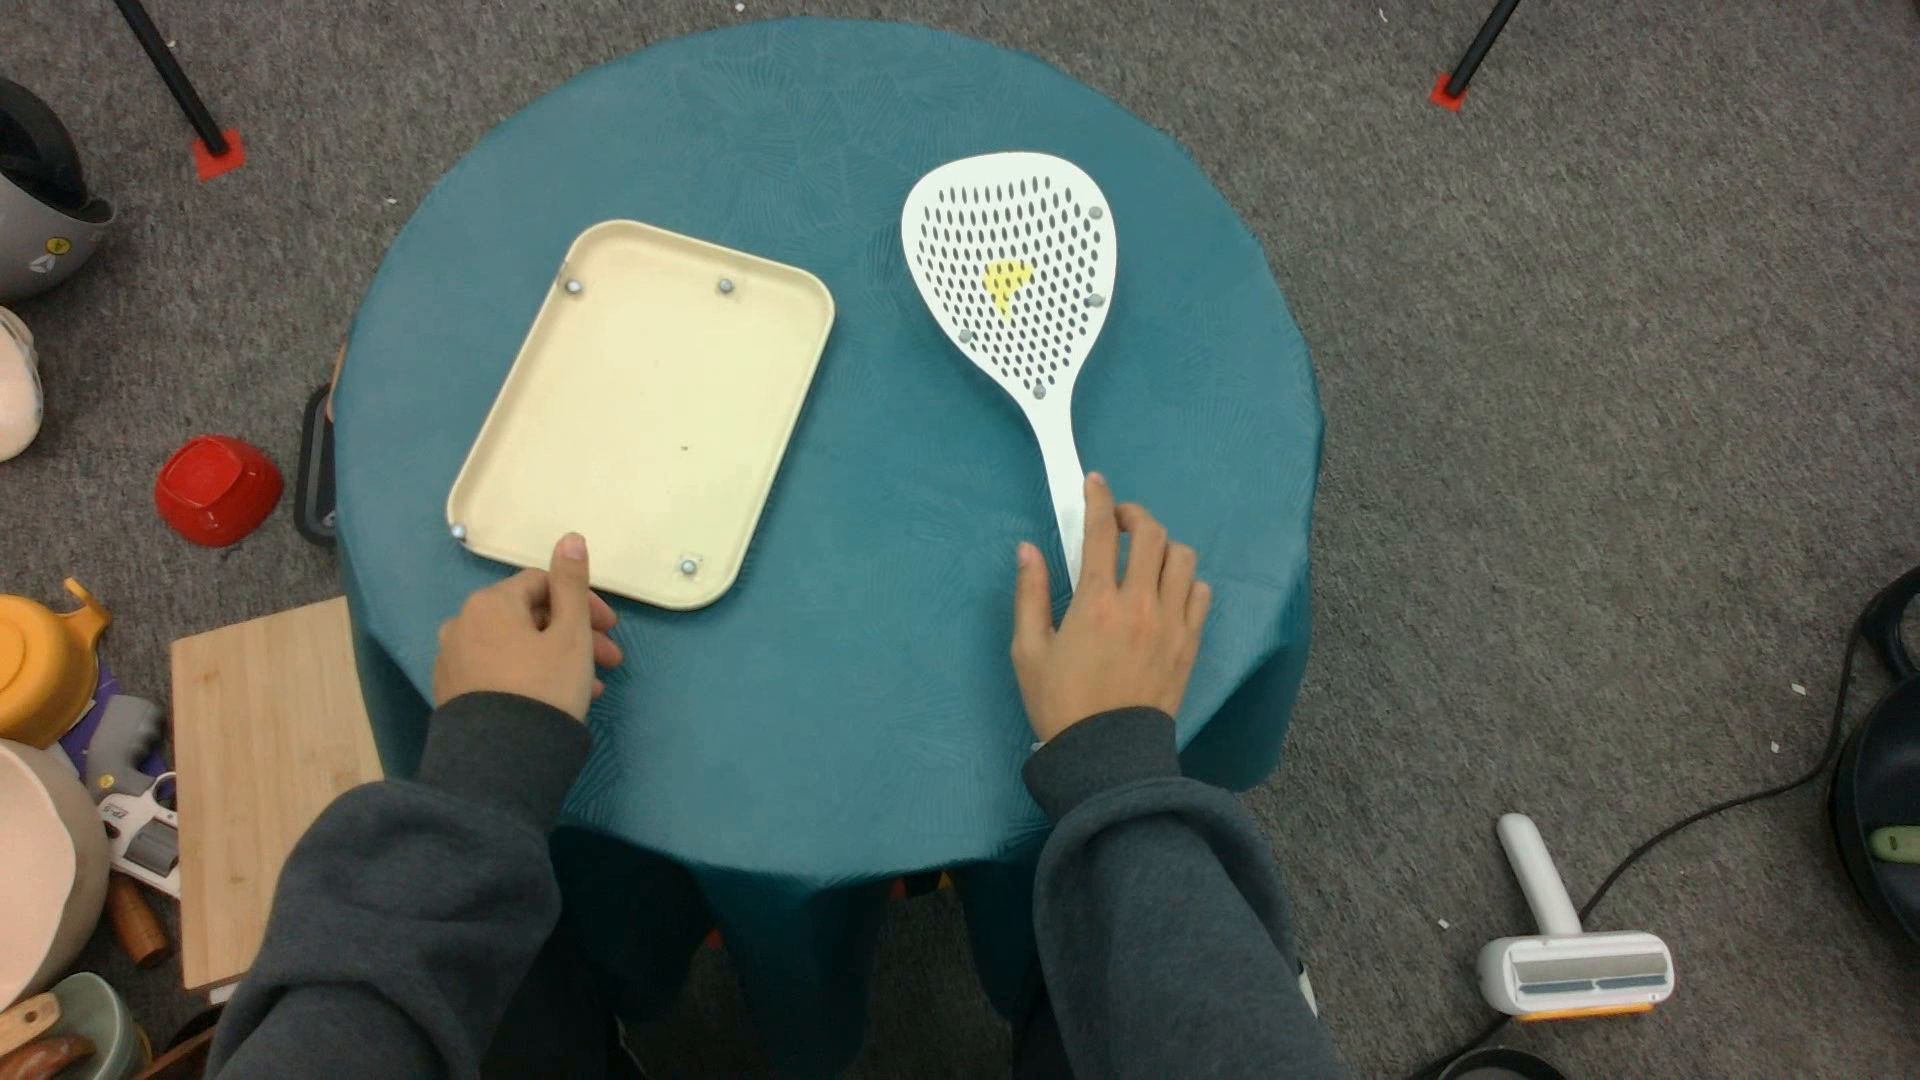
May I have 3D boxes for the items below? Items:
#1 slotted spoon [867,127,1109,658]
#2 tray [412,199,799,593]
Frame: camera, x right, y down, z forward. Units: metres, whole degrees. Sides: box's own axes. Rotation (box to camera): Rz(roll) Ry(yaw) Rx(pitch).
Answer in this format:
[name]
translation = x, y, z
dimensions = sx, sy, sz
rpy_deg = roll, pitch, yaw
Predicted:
[slotted spoon]
translation = 0.034, -0.097, 0.836
dimensions = 0.137, 0.050, 0.349
rpy_deg = -10, 68, -10
[tray]
translation = -0.205, -0.089, 0.819
dimensions = 0.171, 0.017, 0.240
rpy_deg = 16, 66, 0
